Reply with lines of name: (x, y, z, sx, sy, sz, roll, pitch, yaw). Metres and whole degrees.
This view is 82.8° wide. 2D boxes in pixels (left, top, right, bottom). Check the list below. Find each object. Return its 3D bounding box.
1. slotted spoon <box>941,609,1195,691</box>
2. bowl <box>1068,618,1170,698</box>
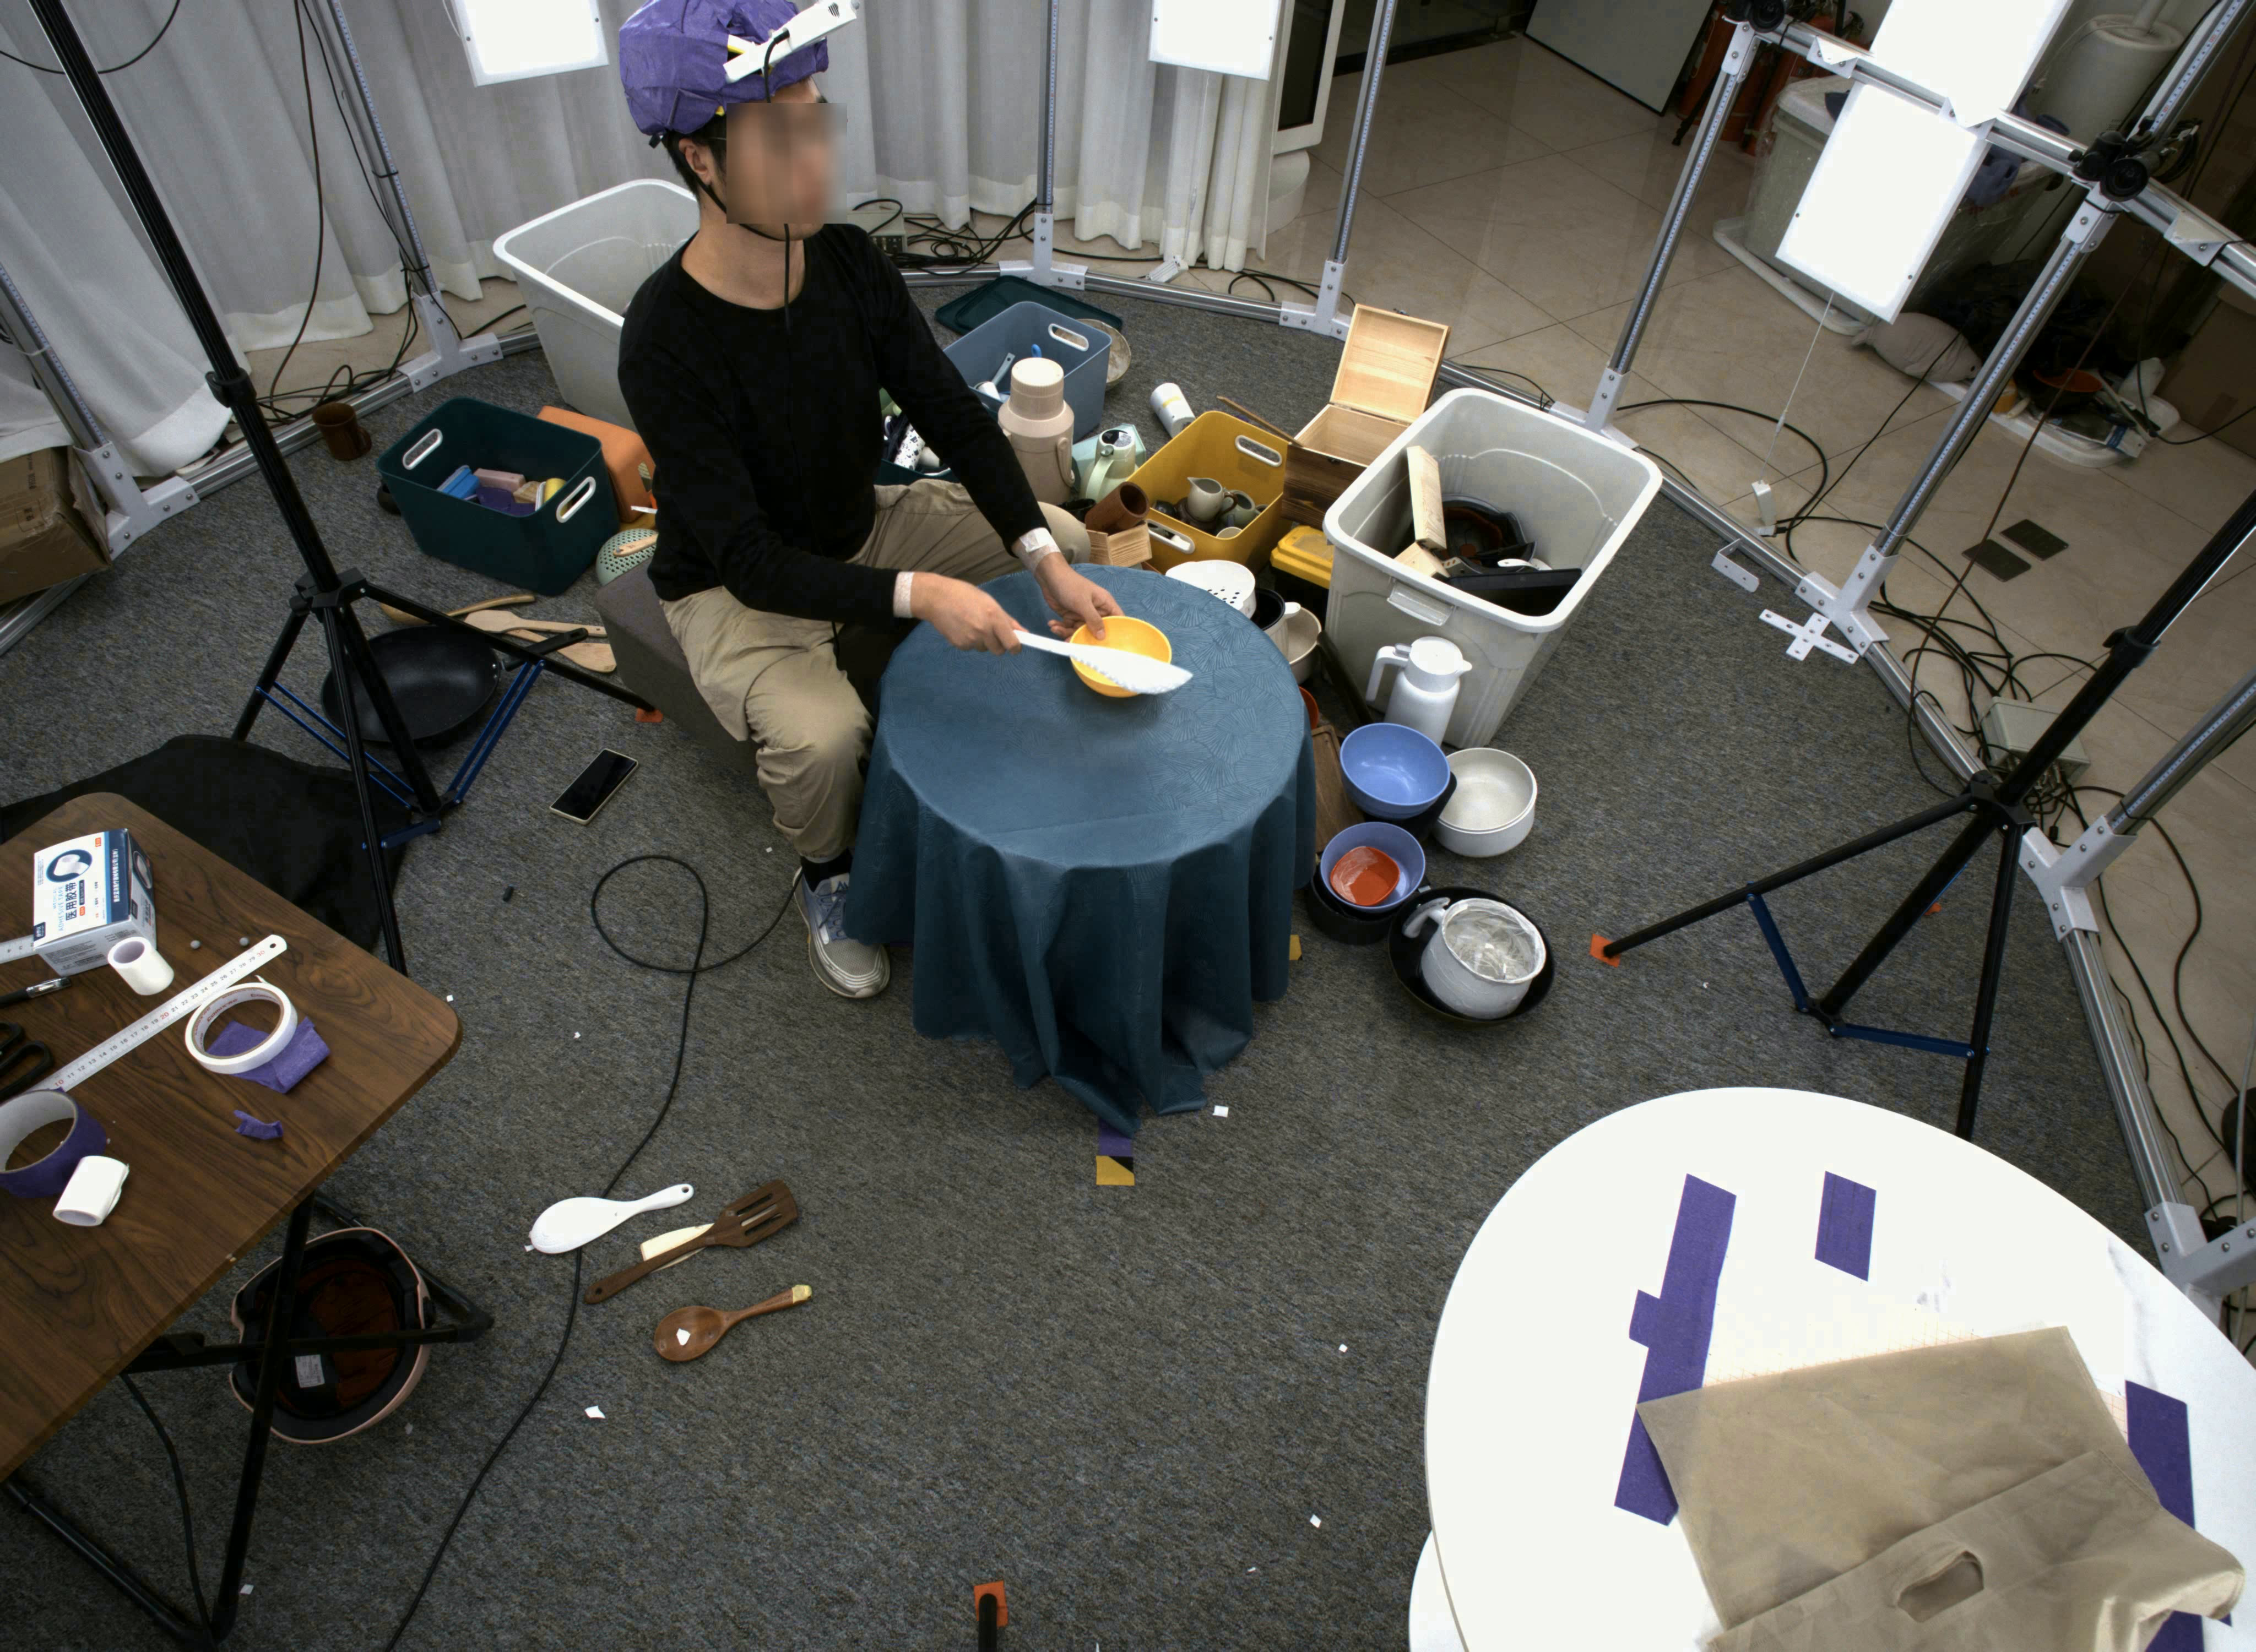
slotted spoon: (-0.083, -0.235, 1.668, 0.352, 0.135, 0.046, 20, 93, 15)
bowl: (-0.015, -0.228, 1.829, 0.145, 0.059, 0.149, 4, 48, -4)
